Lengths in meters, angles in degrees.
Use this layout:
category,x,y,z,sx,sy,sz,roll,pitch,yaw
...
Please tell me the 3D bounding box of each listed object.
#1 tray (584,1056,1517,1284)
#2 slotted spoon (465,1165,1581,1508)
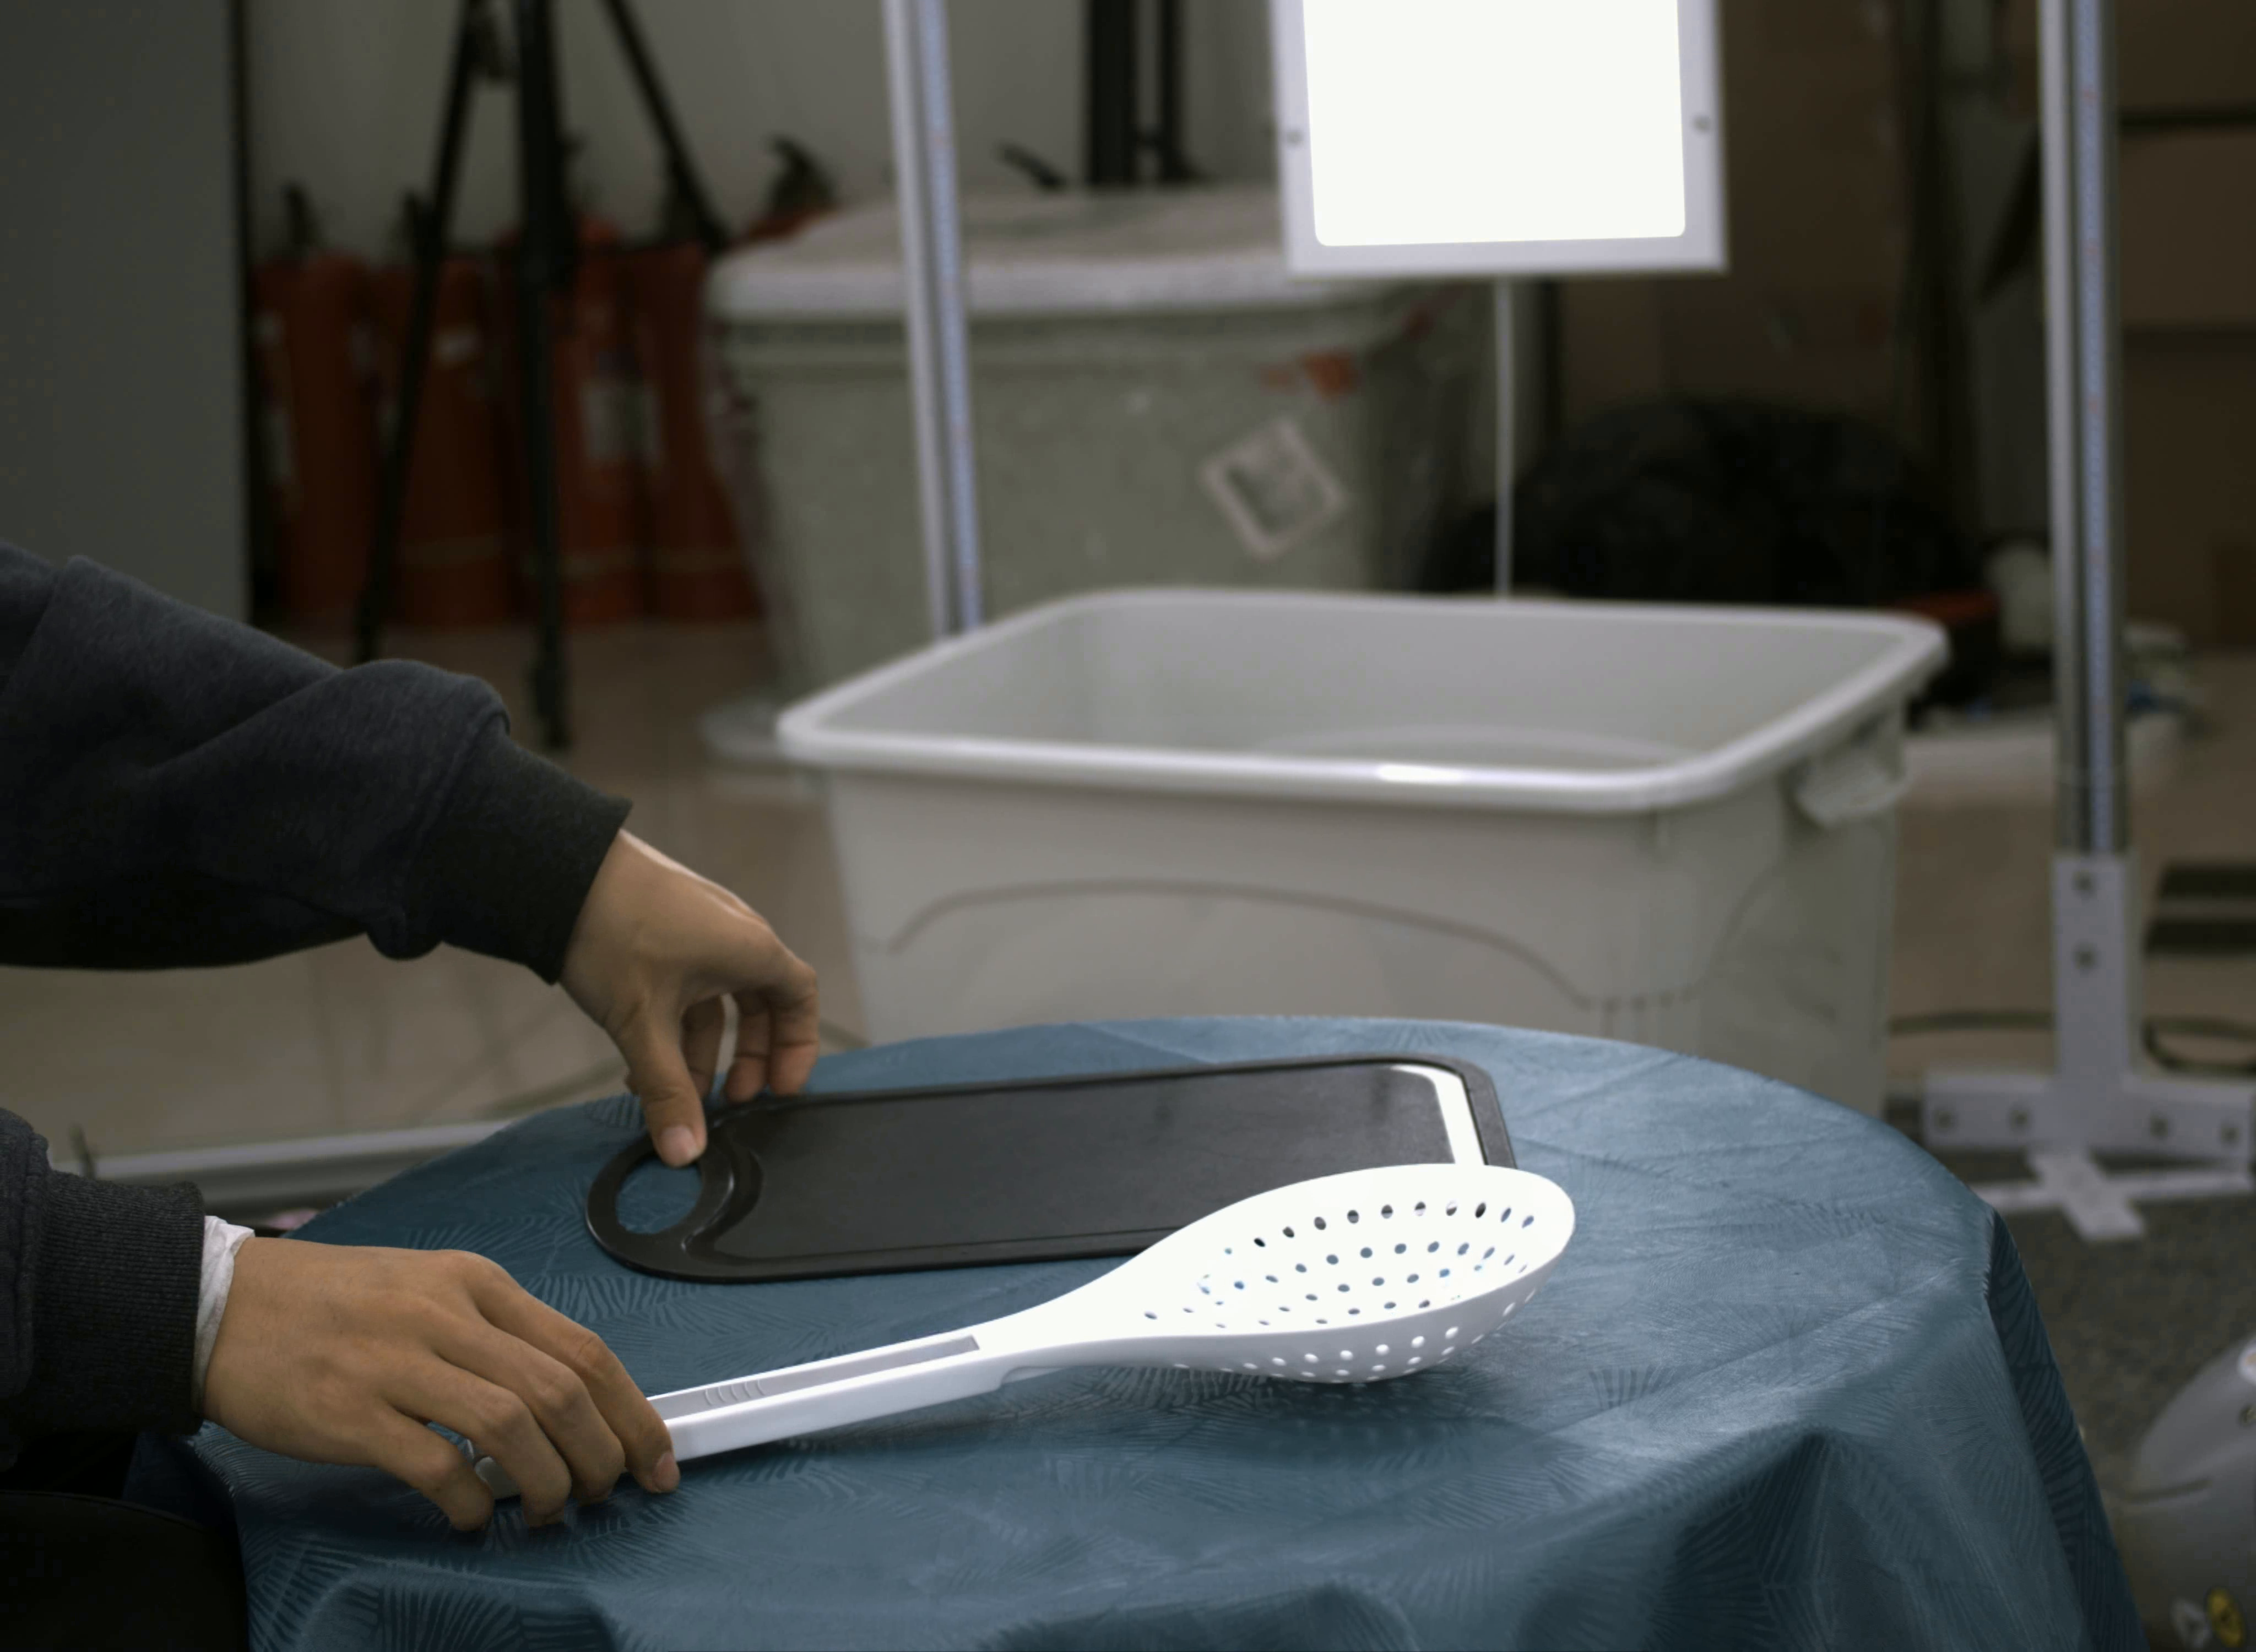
category,x,y,z,sx,sy,sz,roll,pitch,yaw
tray,-0.029,0.118,1.930,0.325,0.010,0.210,-5,14,3
slotted spoon,-0.029,0.158,1.681,0.346,0.046,0.137,-8,13,-8
